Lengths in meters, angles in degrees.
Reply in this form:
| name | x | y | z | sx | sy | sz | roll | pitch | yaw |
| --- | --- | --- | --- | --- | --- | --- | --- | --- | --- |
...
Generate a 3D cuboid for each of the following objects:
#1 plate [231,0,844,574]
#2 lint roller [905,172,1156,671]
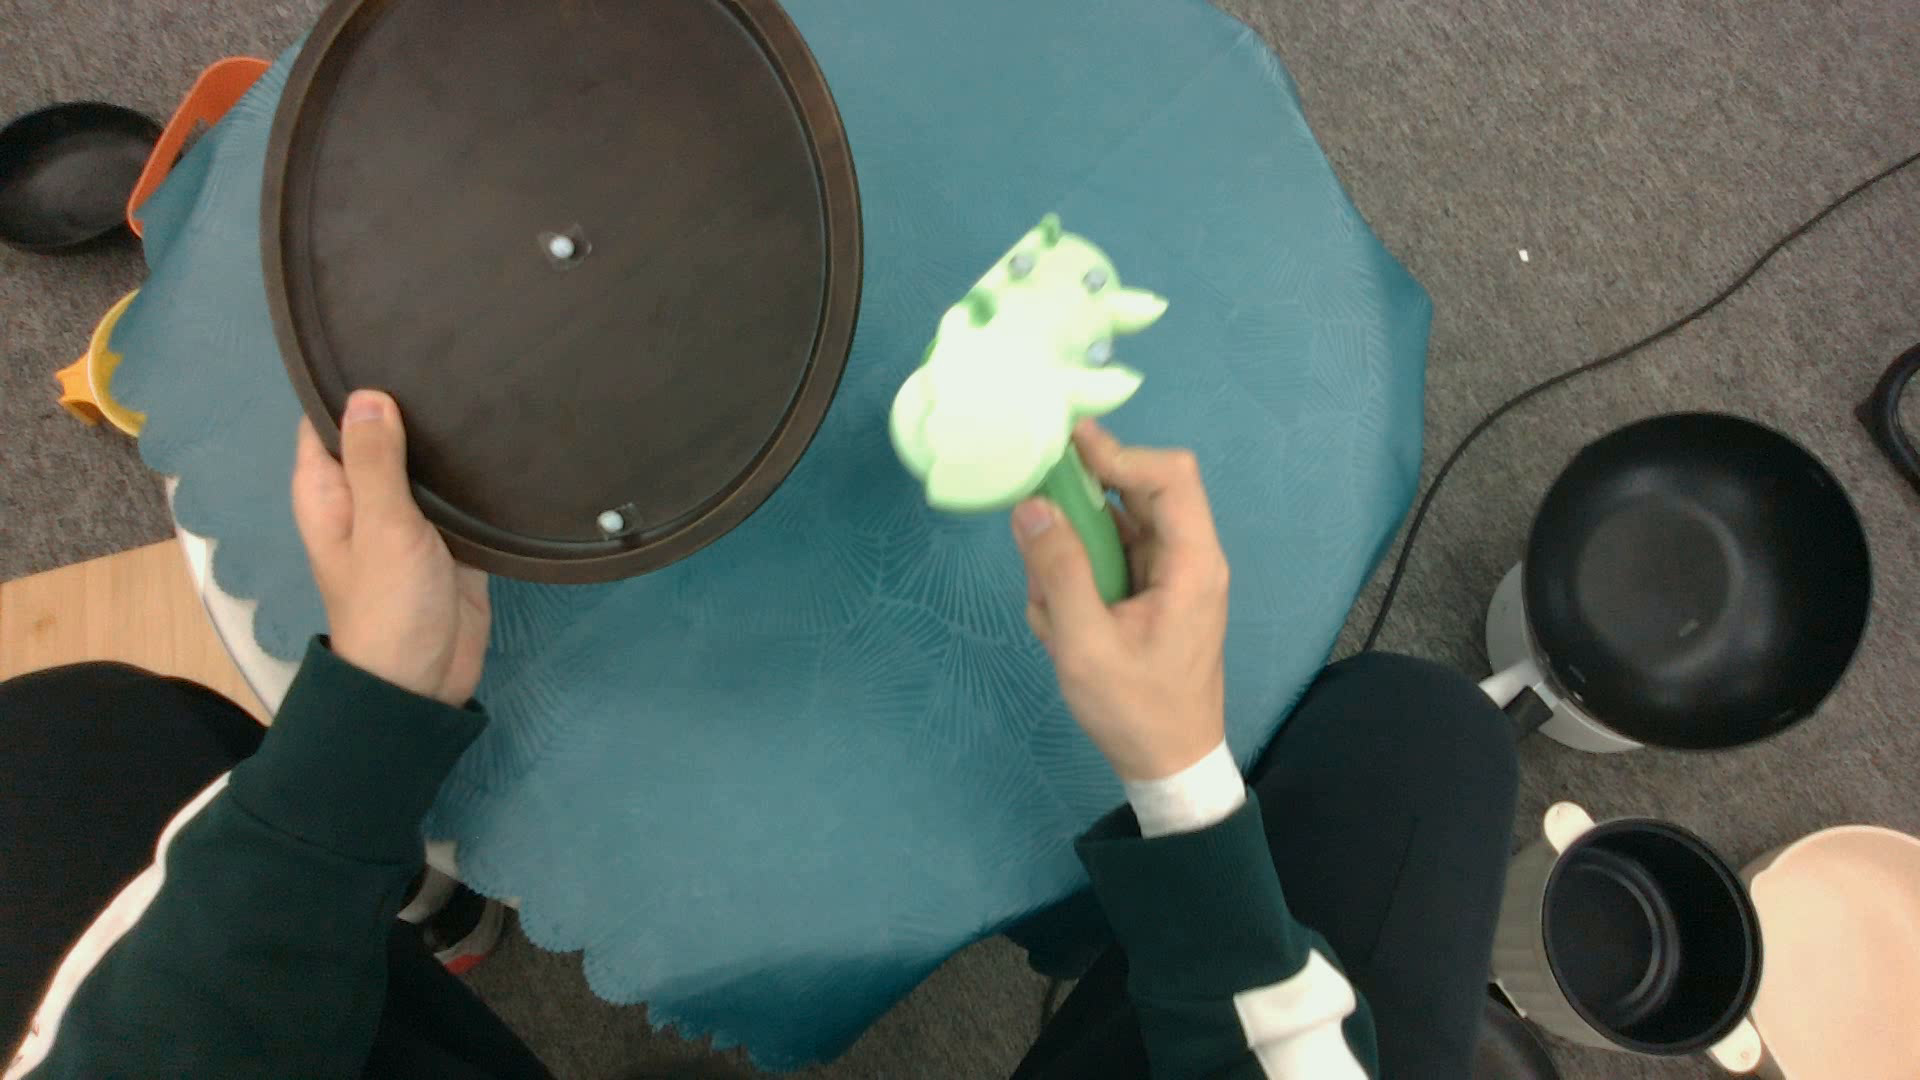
| name | x | y | z | sx | sy | sz | roll | pitch | yaw |
| --- | --- | --- | --- | --- | --- | --- | --- | --- | --- |
| plate | -0.160 | -0.112 | 0.512 | 0.254 | 0.029 | 0.254 | 2 | 99 | 14 |
| lint roller | 0.049 | -0.038 | 0.514 | 0.082 | 0.199 | 0.183 | -19 | 108 | 16 |
